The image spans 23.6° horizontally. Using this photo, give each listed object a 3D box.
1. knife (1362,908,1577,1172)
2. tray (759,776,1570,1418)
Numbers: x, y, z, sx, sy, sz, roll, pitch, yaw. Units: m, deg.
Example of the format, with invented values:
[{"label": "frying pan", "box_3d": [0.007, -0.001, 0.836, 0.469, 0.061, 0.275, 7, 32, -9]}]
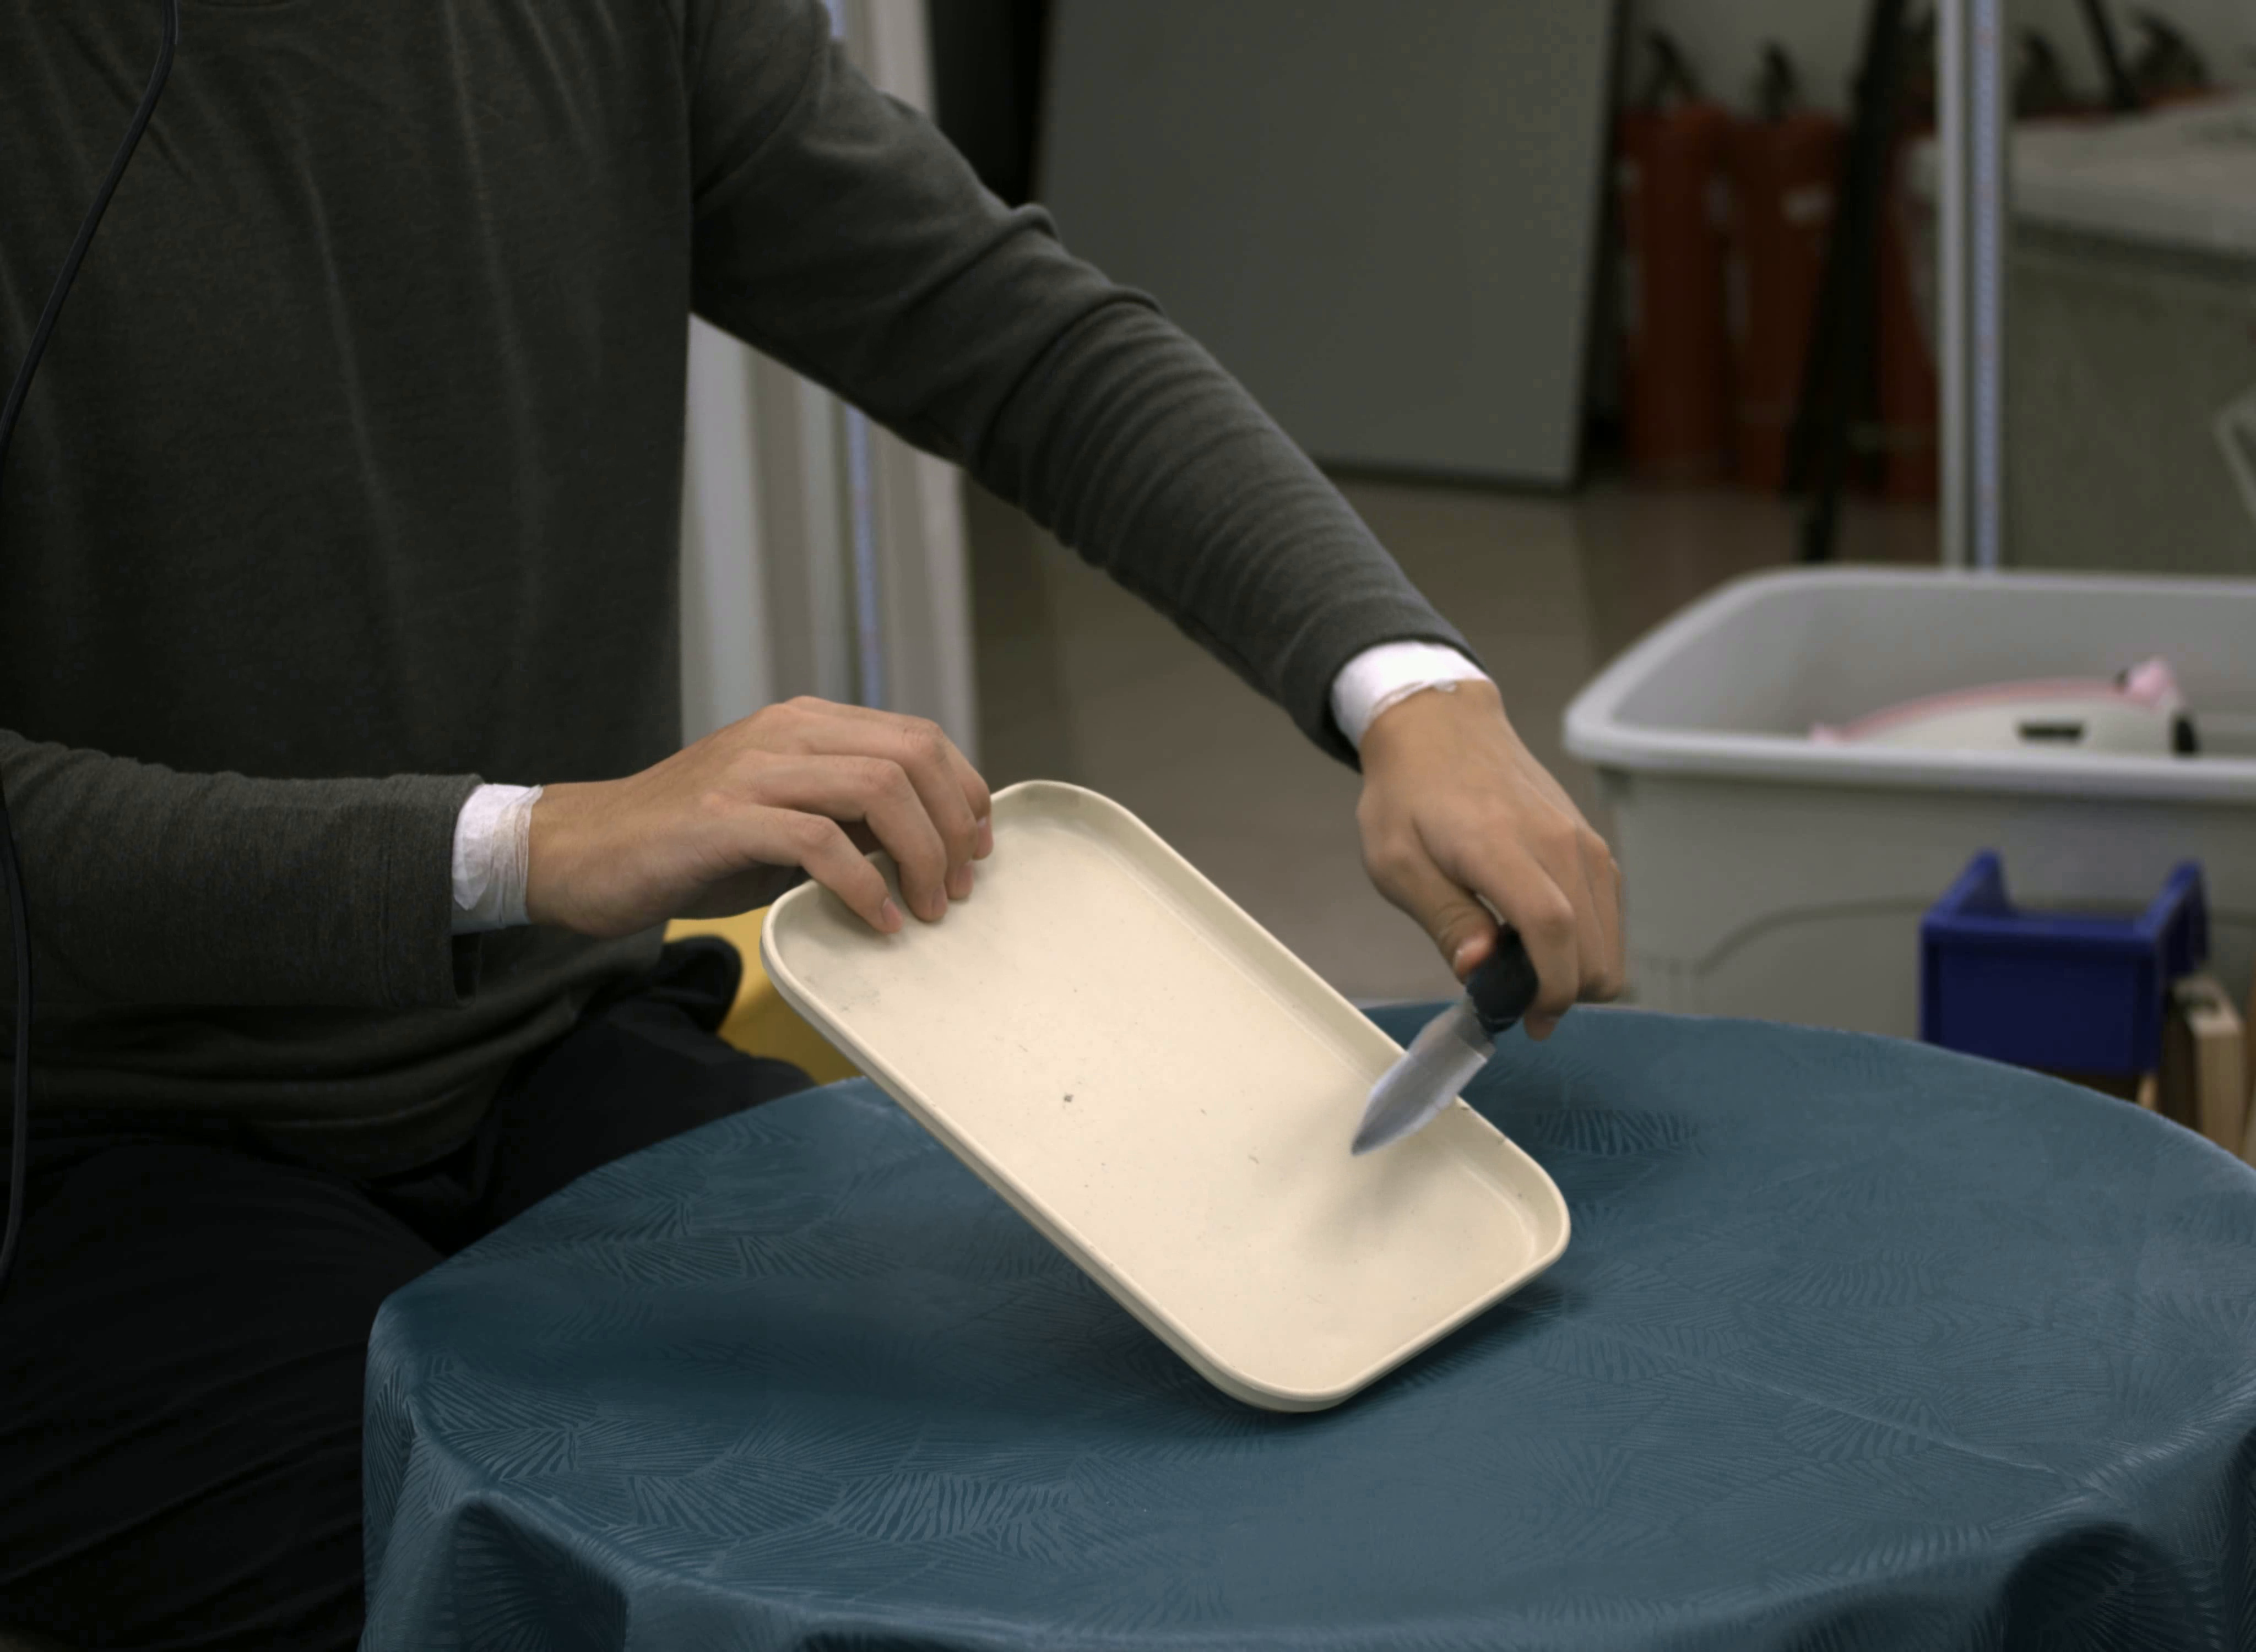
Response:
[{"label": "knife", "box_3d": [0.106, 0.067, 1.711, 0.024, 0.016, 0.236, 31, 24, 8]}, {"label": "tray", "box_3d": [0.010, 0.080, 1.641, 0.241, 0.017, 0.168, 41, 39, 22]}]
